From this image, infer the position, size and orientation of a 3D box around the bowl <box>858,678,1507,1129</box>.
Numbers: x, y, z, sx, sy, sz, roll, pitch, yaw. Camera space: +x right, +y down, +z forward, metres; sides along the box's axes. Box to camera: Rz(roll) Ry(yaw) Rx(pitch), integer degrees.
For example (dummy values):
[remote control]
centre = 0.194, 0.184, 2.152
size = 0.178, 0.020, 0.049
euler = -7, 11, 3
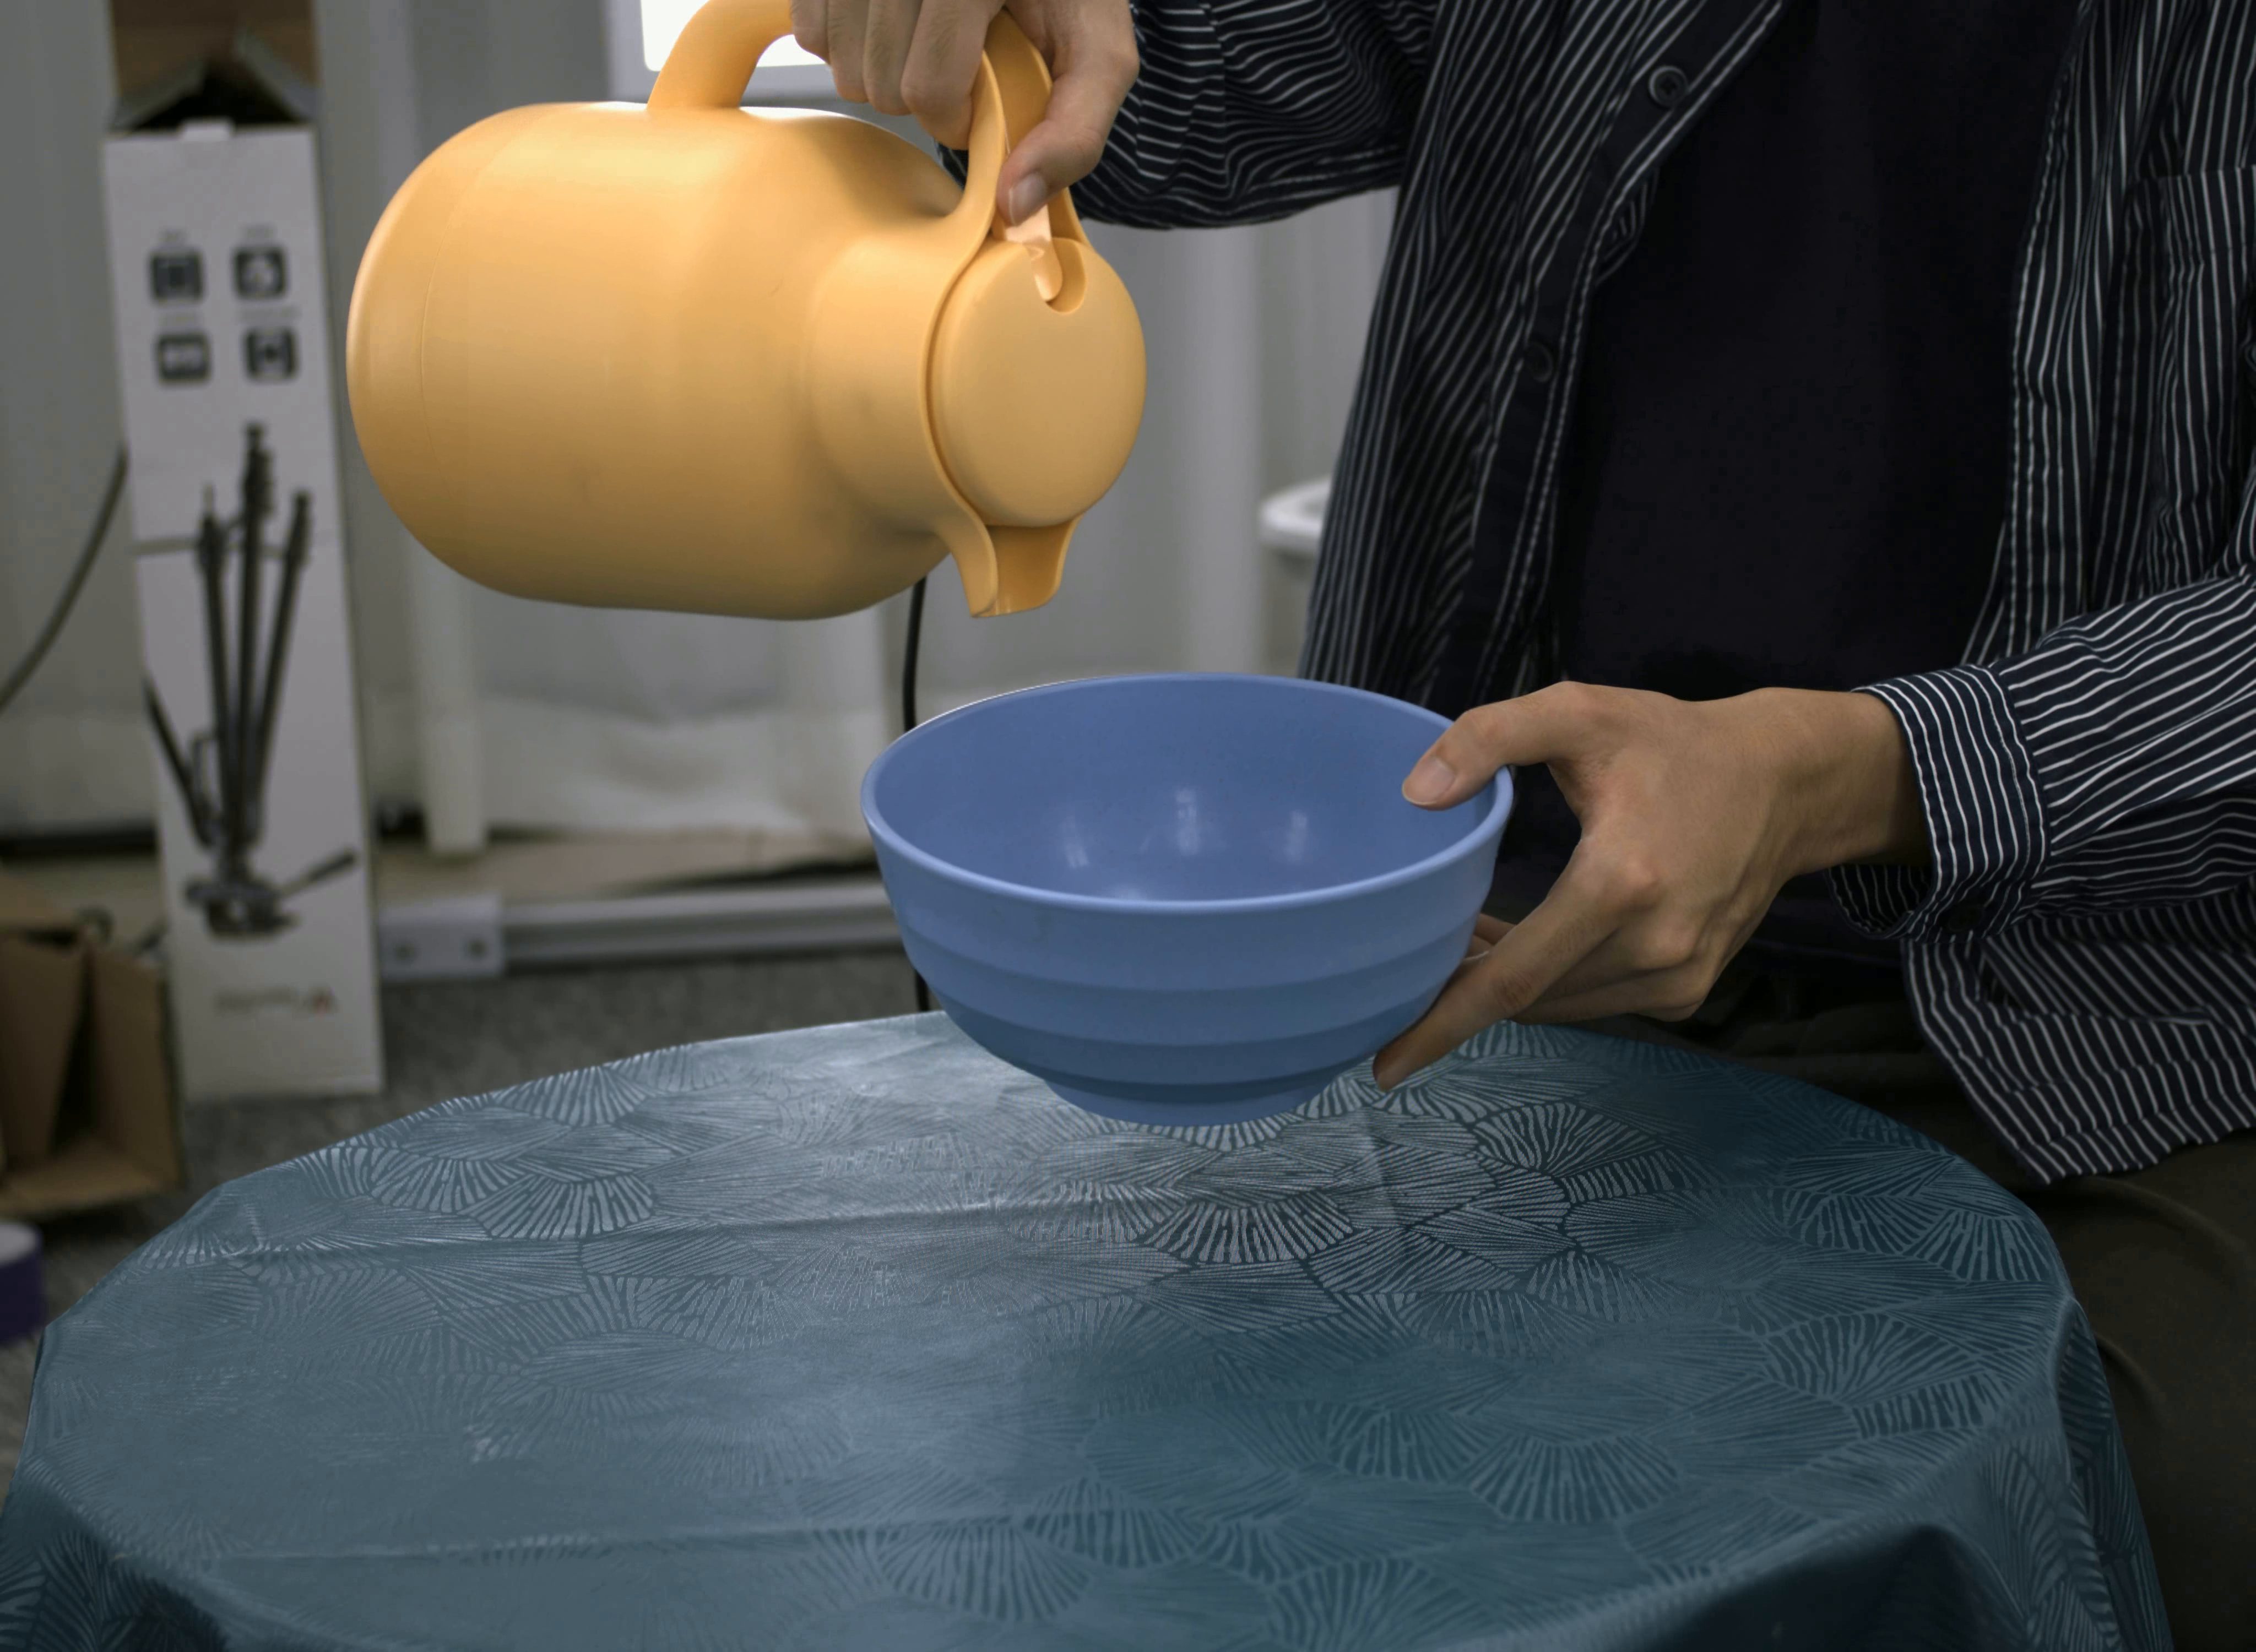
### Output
[bowl]
centre = 0.017, 0.031, 1.664
size = 0.196, 0.095, 0.198
euler = -1, 21, 0

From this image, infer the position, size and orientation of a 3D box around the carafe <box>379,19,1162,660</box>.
[carafe]
centre = -0.107, -0.154, 1.742
size = 0.261, 0.202, 0.163
euler = 6, 9, 43
